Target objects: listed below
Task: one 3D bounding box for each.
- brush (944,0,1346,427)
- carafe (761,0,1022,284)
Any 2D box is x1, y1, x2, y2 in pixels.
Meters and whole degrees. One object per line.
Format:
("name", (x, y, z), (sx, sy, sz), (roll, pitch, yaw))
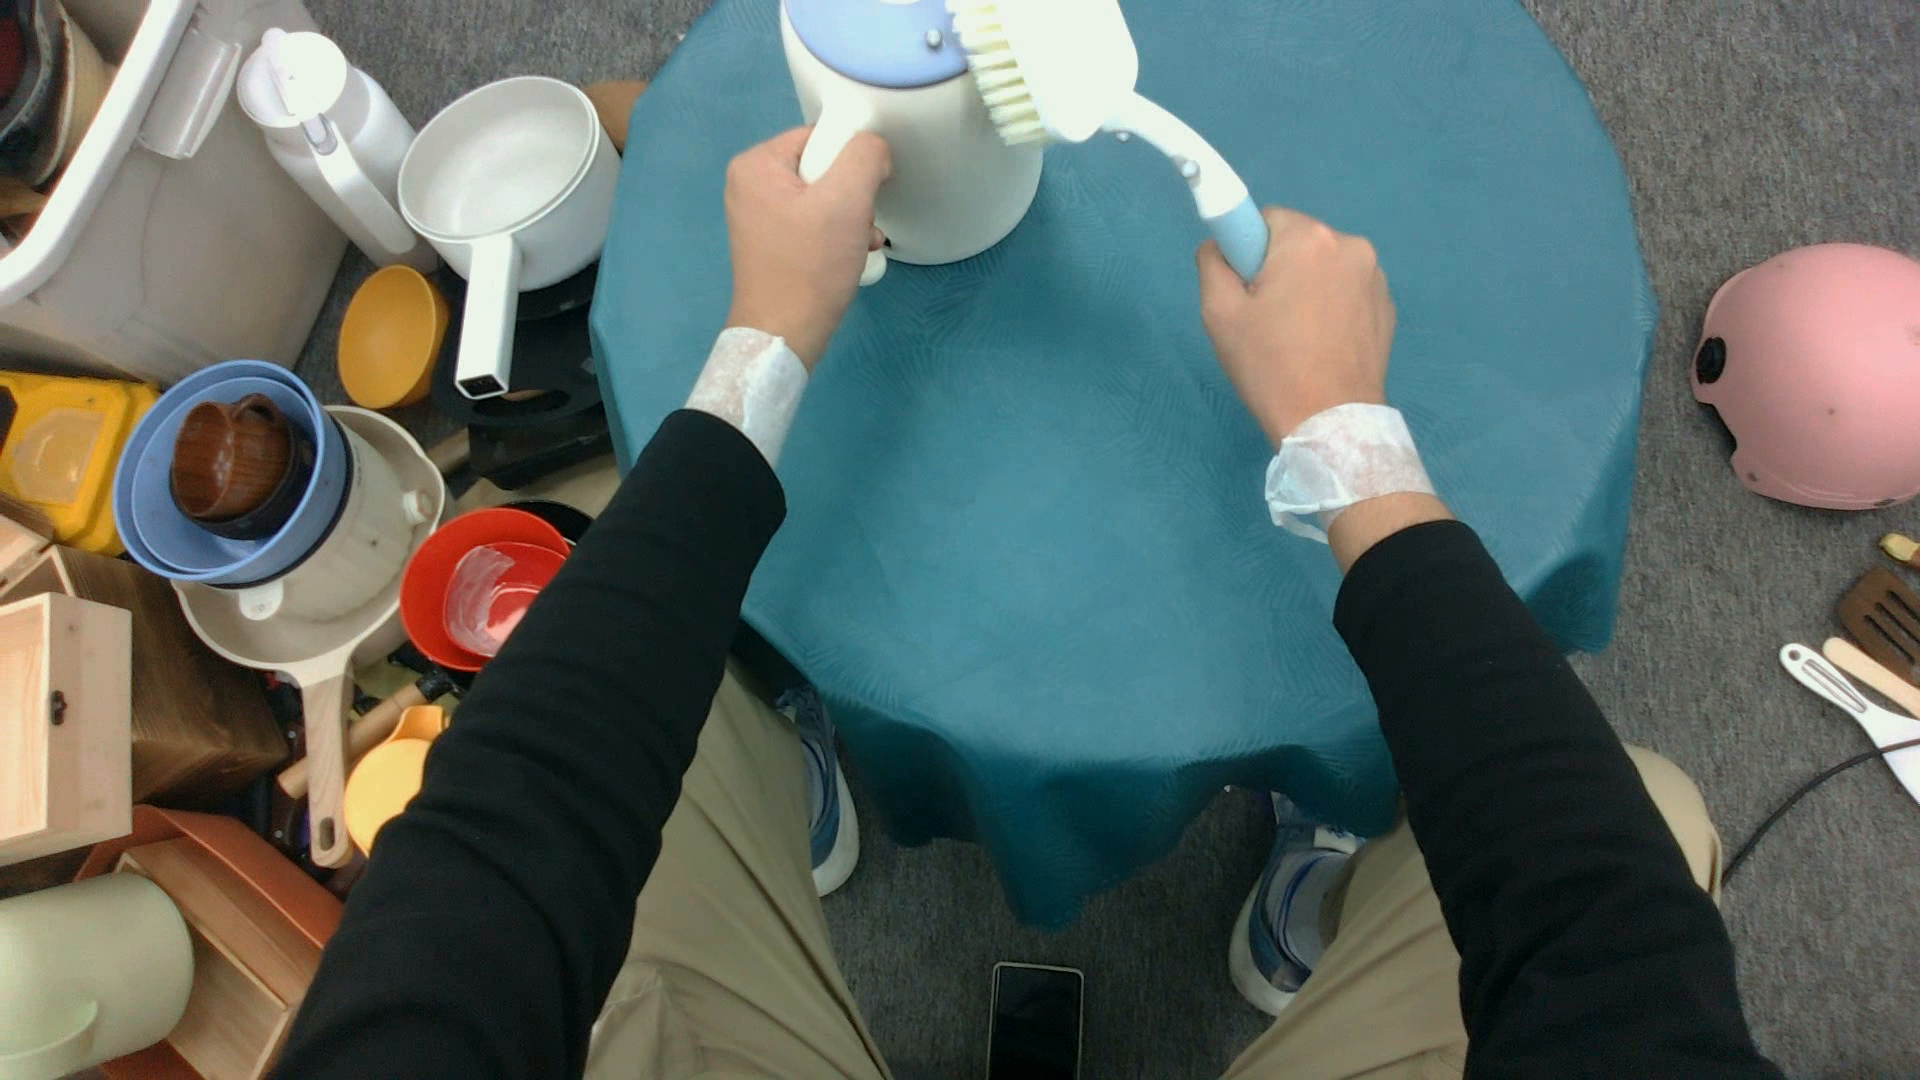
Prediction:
("brush", (0.081, -0.177, 0.678), (0.083, 0.085, 0.325), (-34, 114, 6))
("carafe", (-0.043, -0.230, 0.736), (0.132, 0.182, 0.191), (22, 77, 10))
